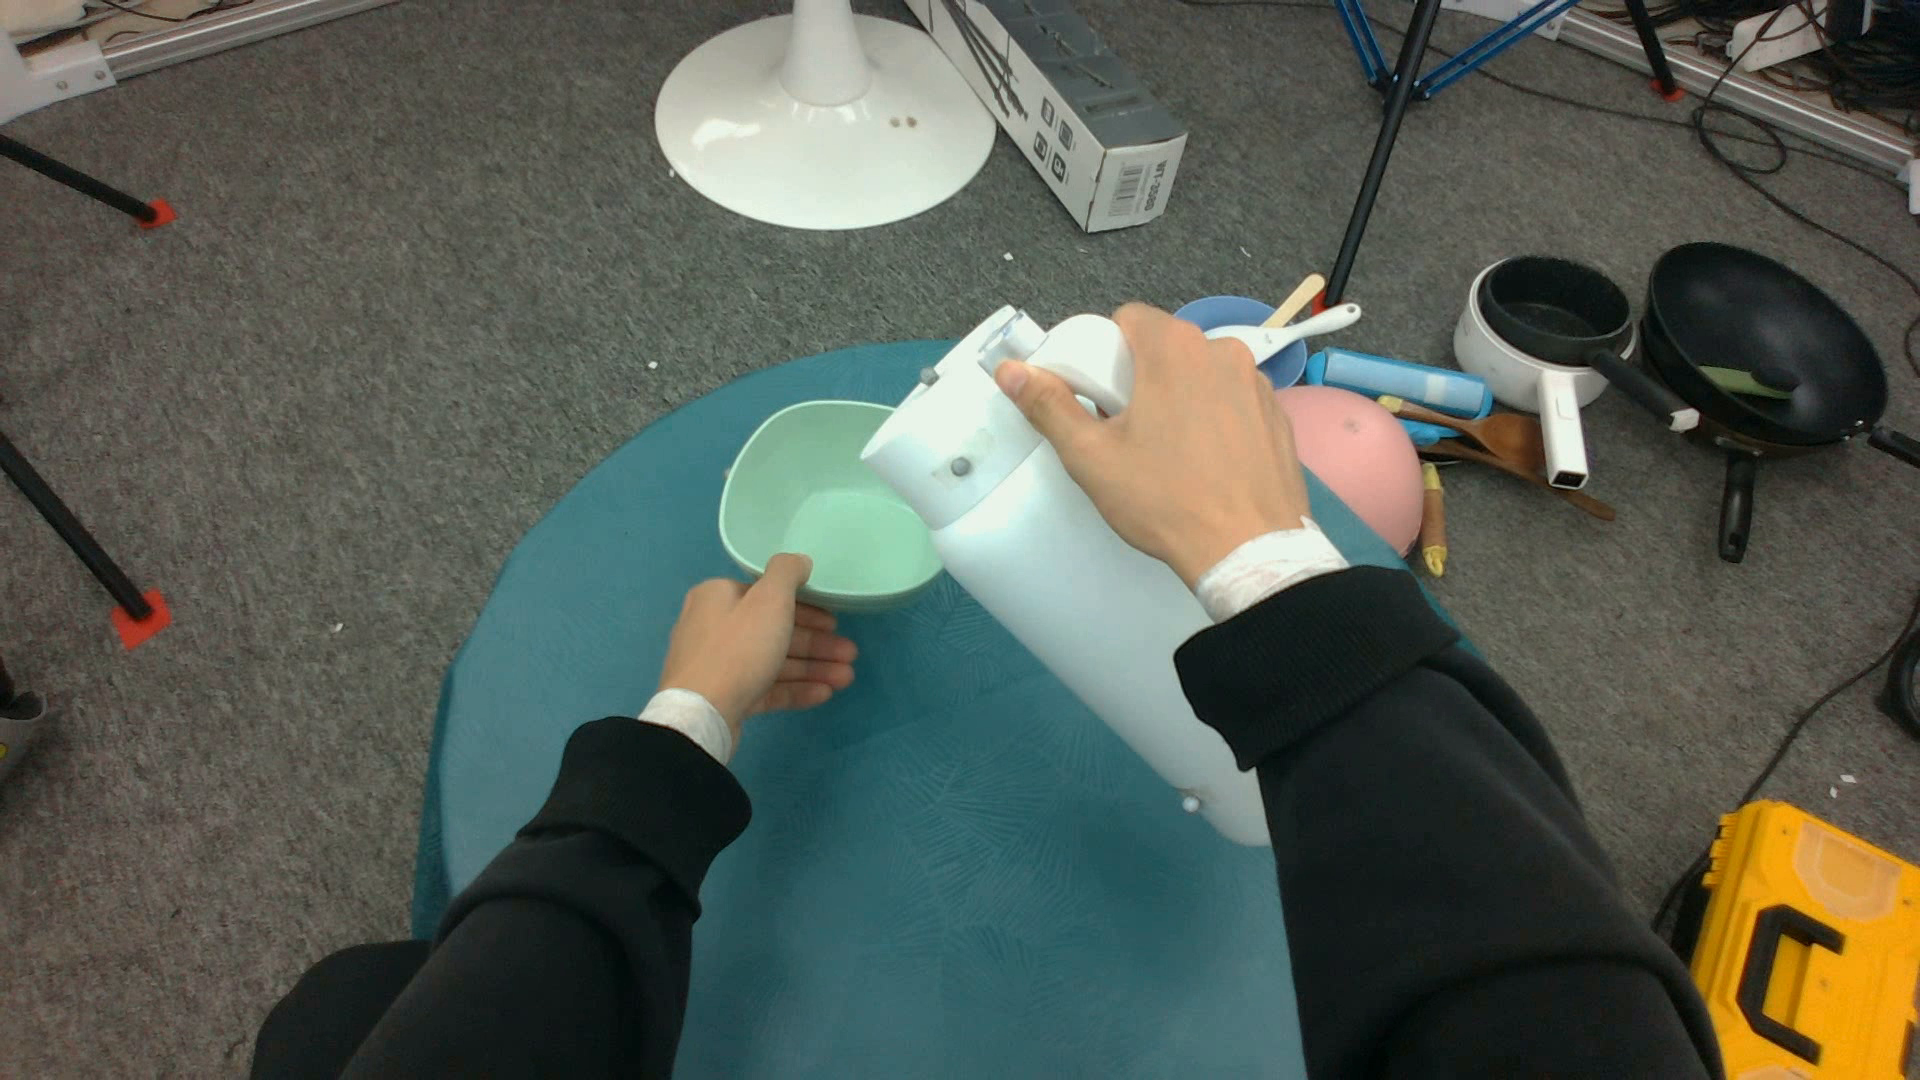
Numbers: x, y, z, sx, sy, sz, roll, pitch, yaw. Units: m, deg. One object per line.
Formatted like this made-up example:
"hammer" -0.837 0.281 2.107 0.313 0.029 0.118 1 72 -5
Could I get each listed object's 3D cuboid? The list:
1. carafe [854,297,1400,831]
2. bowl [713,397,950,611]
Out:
"carafe" 0.088 0.007 0.640 0.268 0.172 0.124 45 57 -10
"bowl" -0.065 -0.012 0.787 0.151 0.058 0.152 1 52 -1
